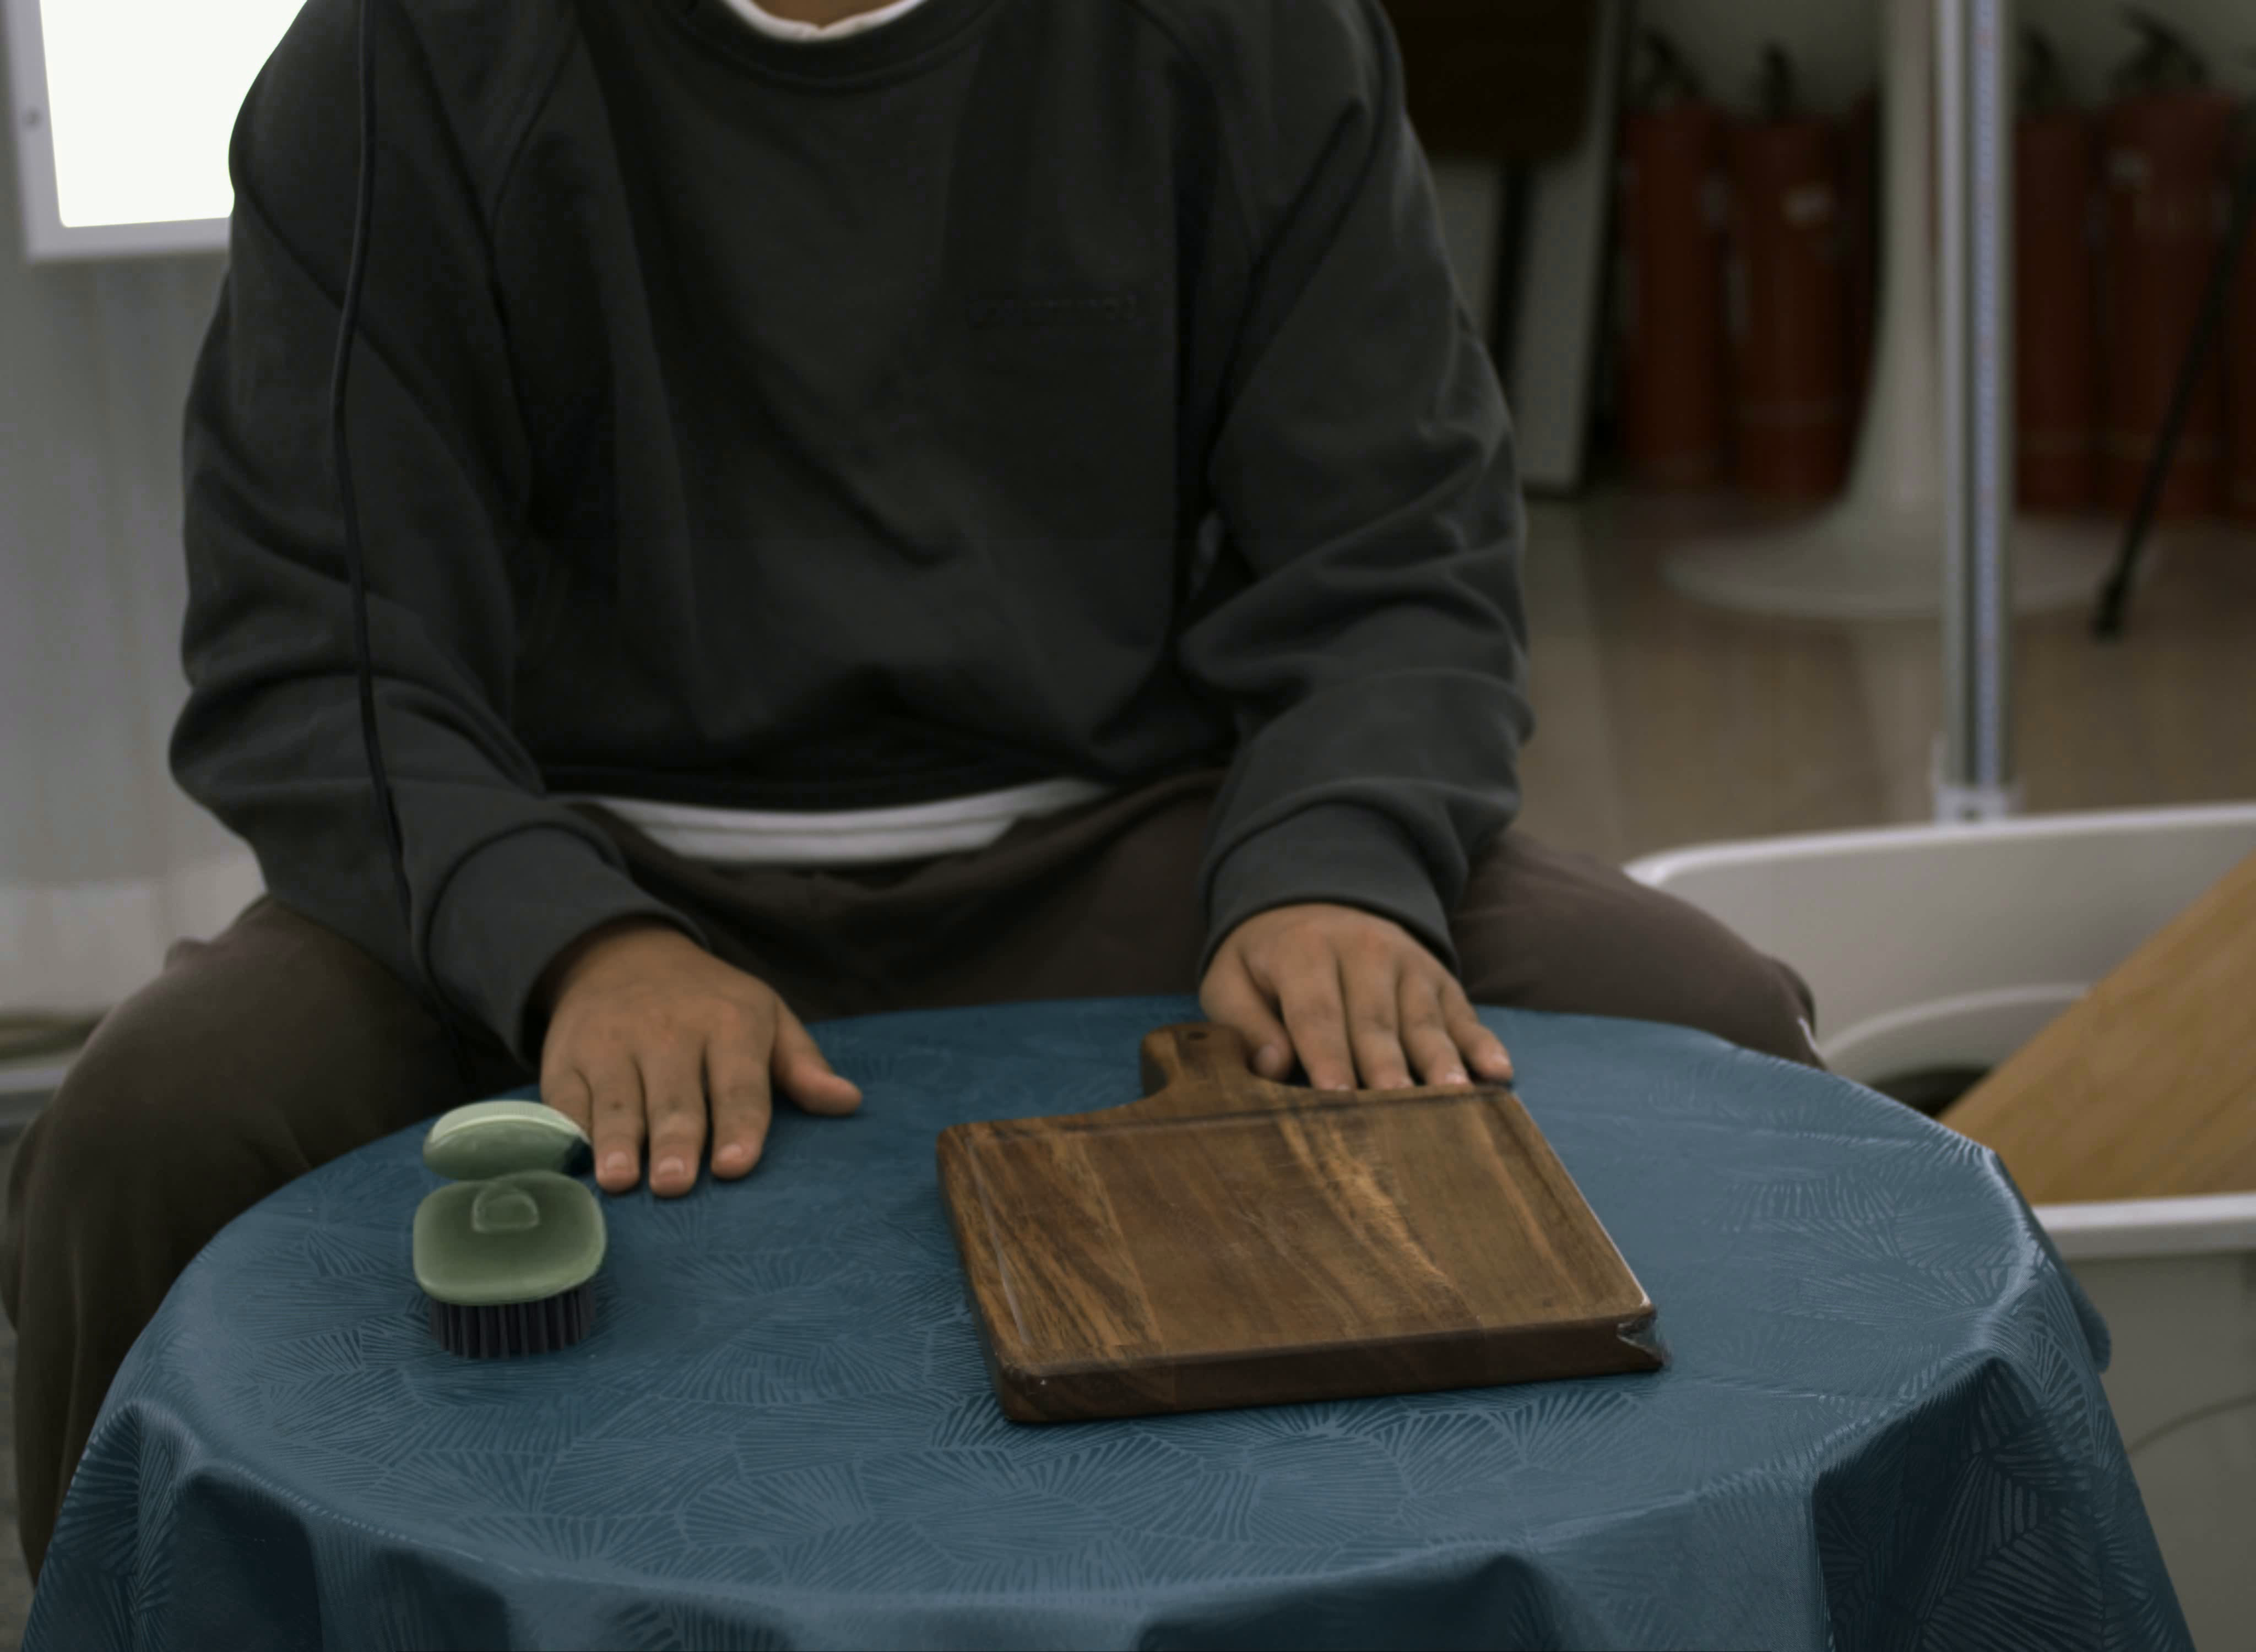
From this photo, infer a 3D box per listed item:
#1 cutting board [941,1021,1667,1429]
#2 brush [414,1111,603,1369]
[{"bbox_3d":[0.043,0.118,1.730,0.198,0.023,0.353,-5,13,-5],"label":"cutting board"},{"bbox_3d":[-0.194,0.127,1.696,0.058,0.077,0.123,-5,0,-7],"label":"brush"}]
